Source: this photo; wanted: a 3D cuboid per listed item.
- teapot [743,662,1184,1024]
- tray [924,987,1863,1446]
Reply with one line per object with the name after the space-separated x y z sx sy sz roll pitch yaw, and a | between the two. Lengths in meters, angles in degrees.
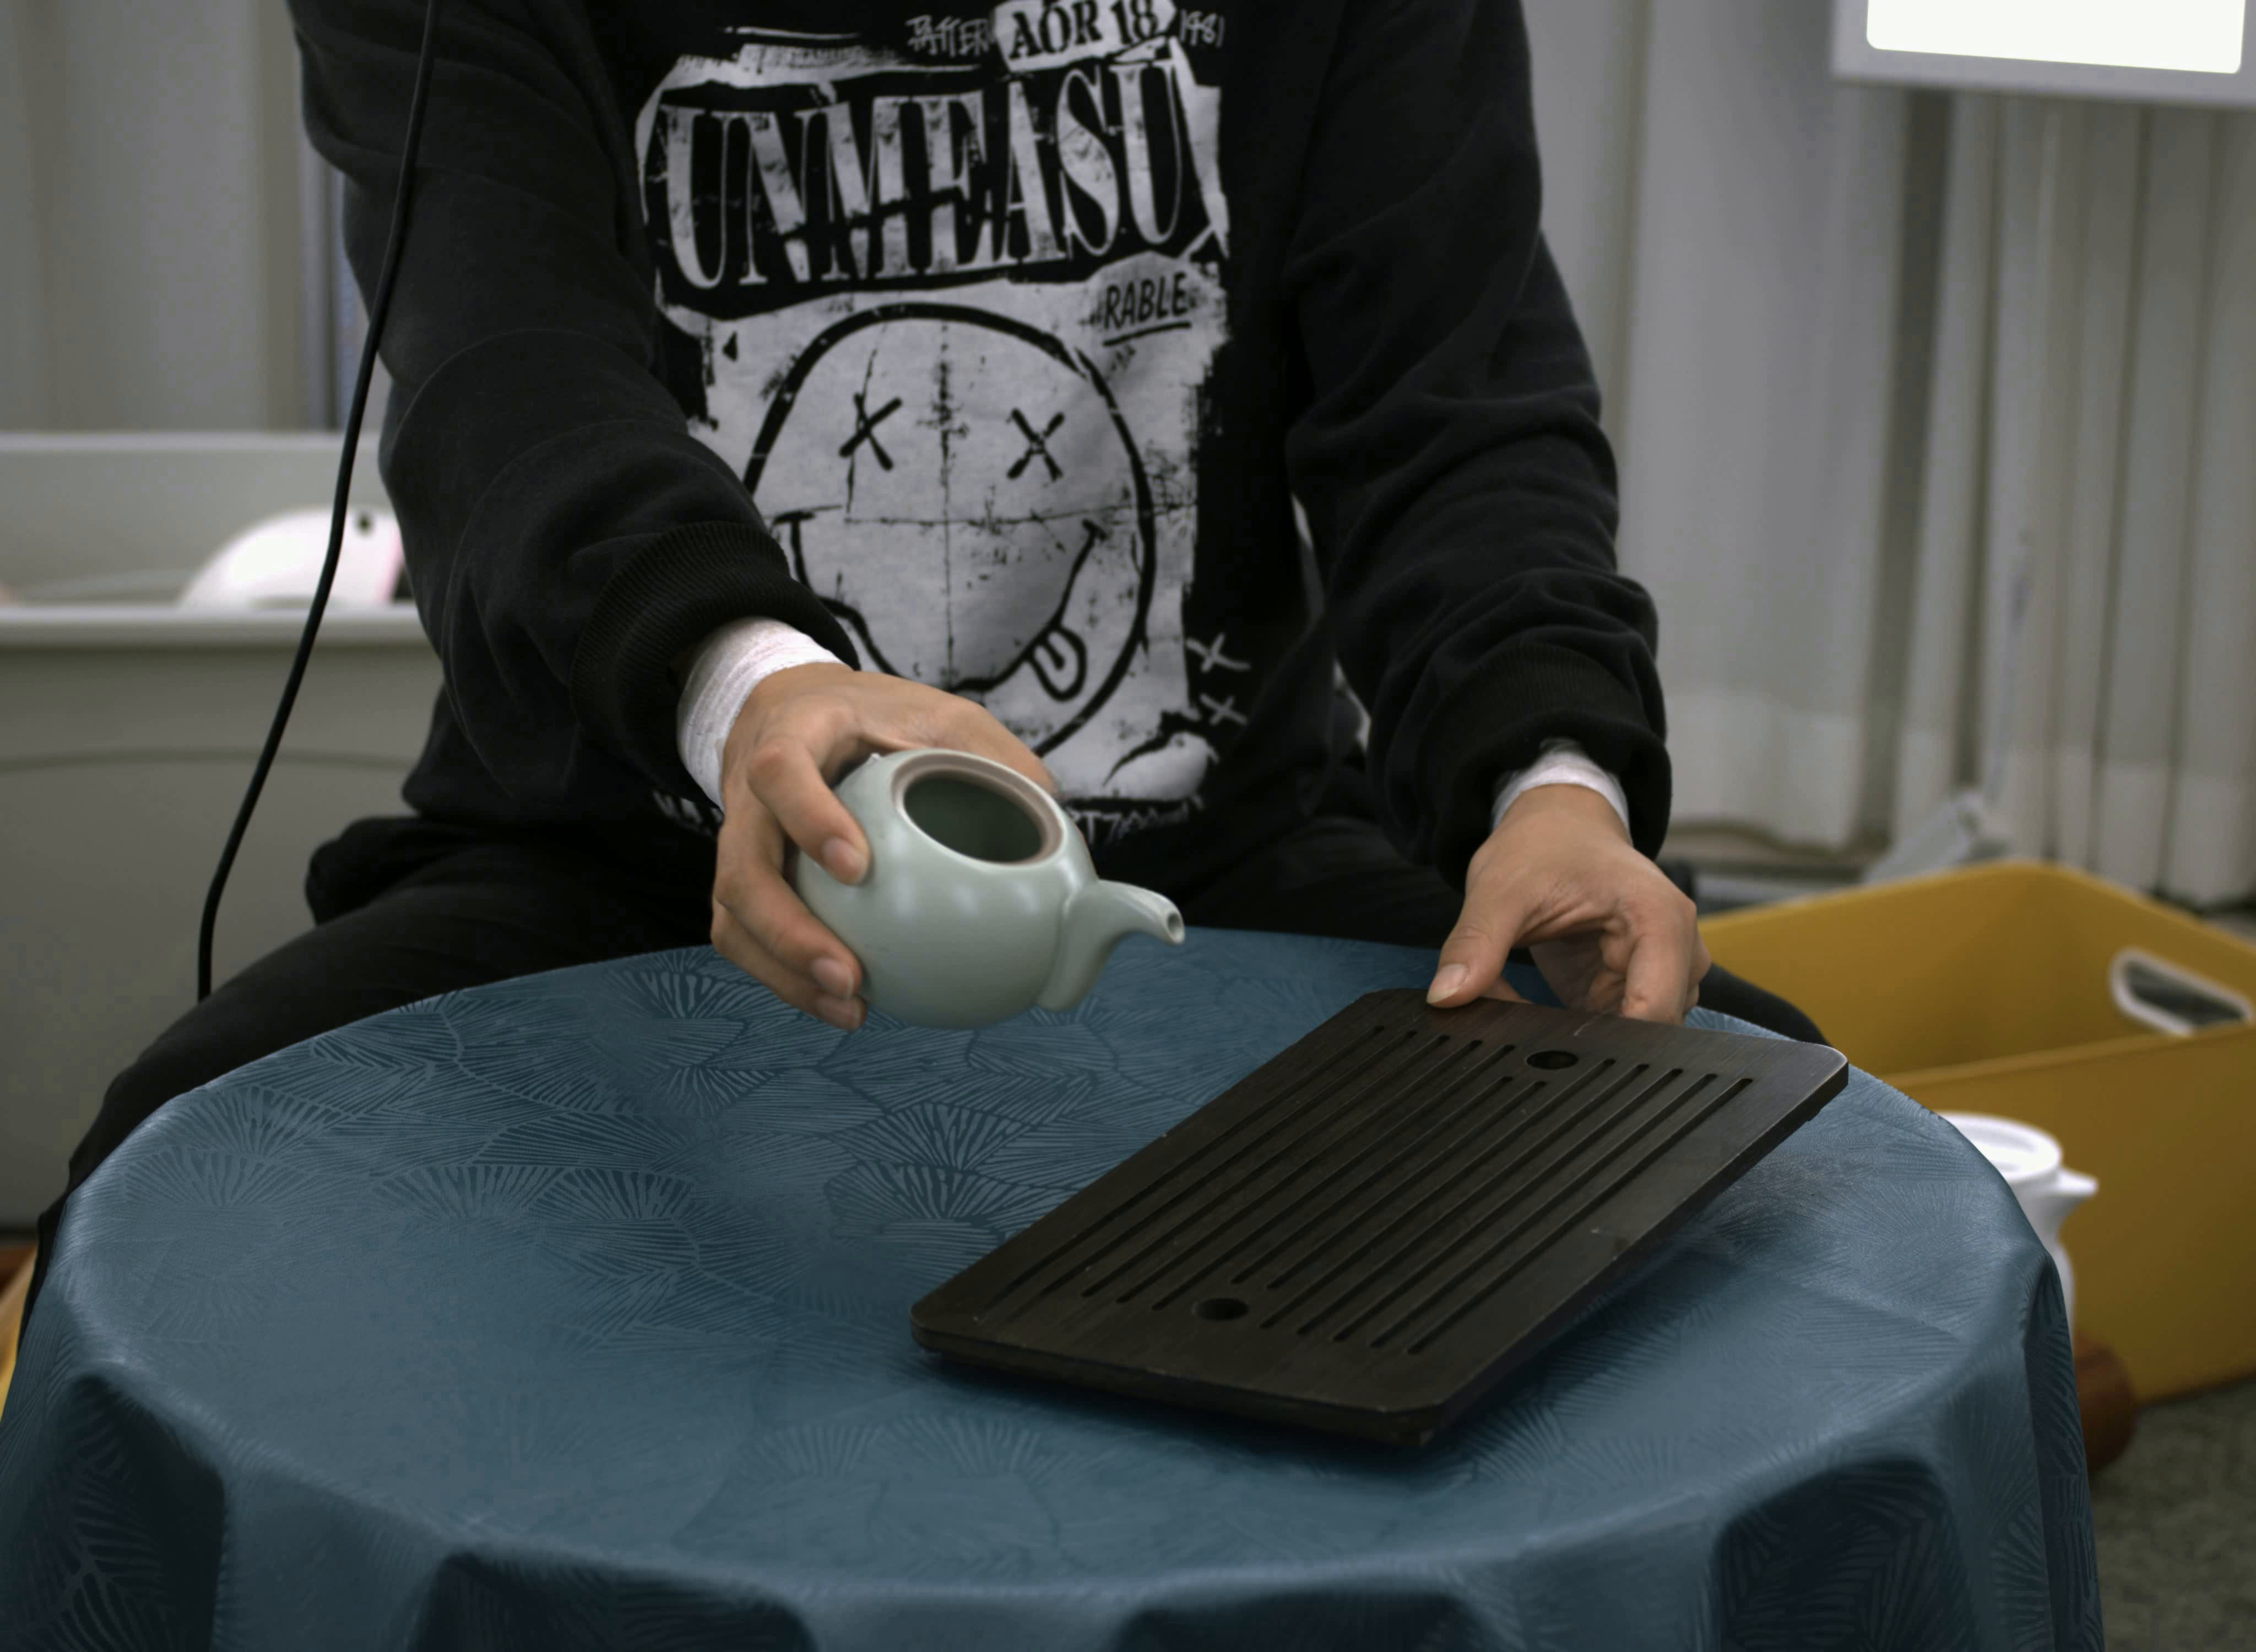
-0.055 0.015 1.543 0.143 0.075 0.088 34 32 11 | teapot
0.086 0.111 1.558 0.168 0.019 0.306 7 20 29 | tray
